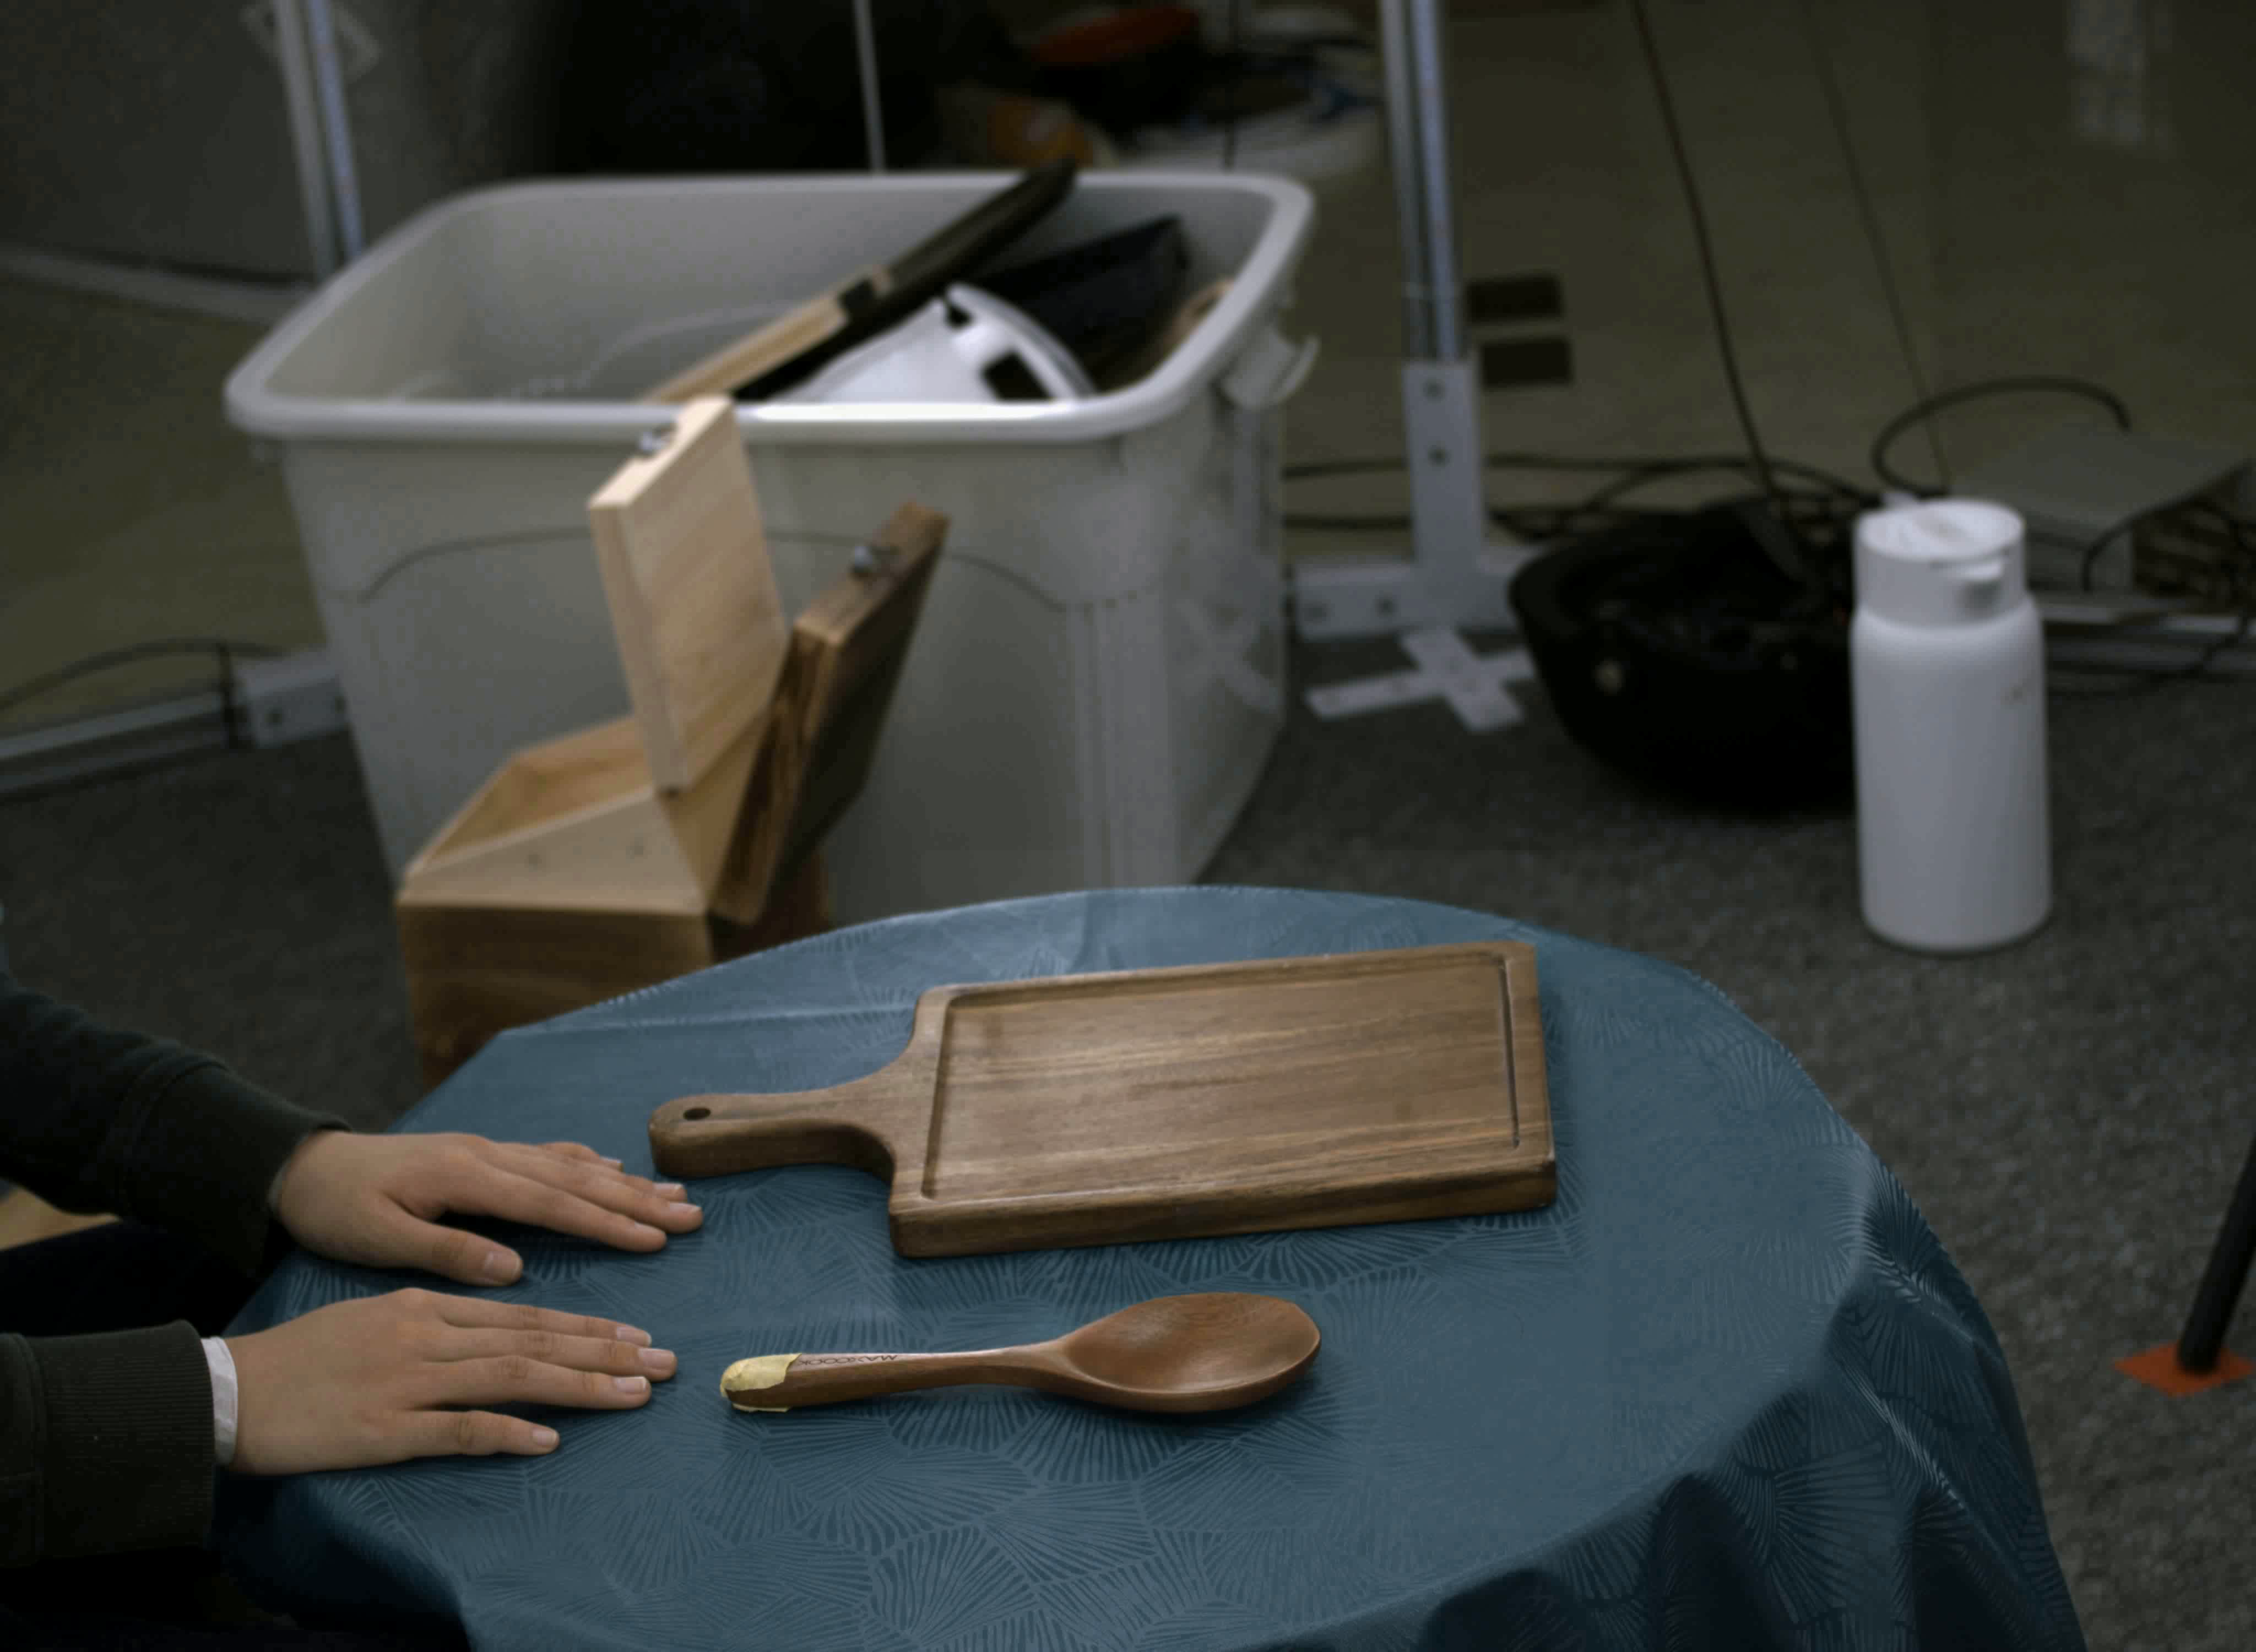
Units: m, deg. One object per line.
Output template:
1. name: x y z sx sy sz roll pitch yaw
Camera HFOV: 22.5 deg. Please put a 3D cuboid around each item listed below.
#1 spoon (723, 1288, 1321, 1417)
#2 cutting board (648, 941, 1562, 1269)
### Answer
1. spoon: -0.038 0.193 2.026 0.215 0.017 0.074 -3 27 6
2. cutting board: -0.012 0.110 2.199 0.351 0.023 0.198 -5 26 4
